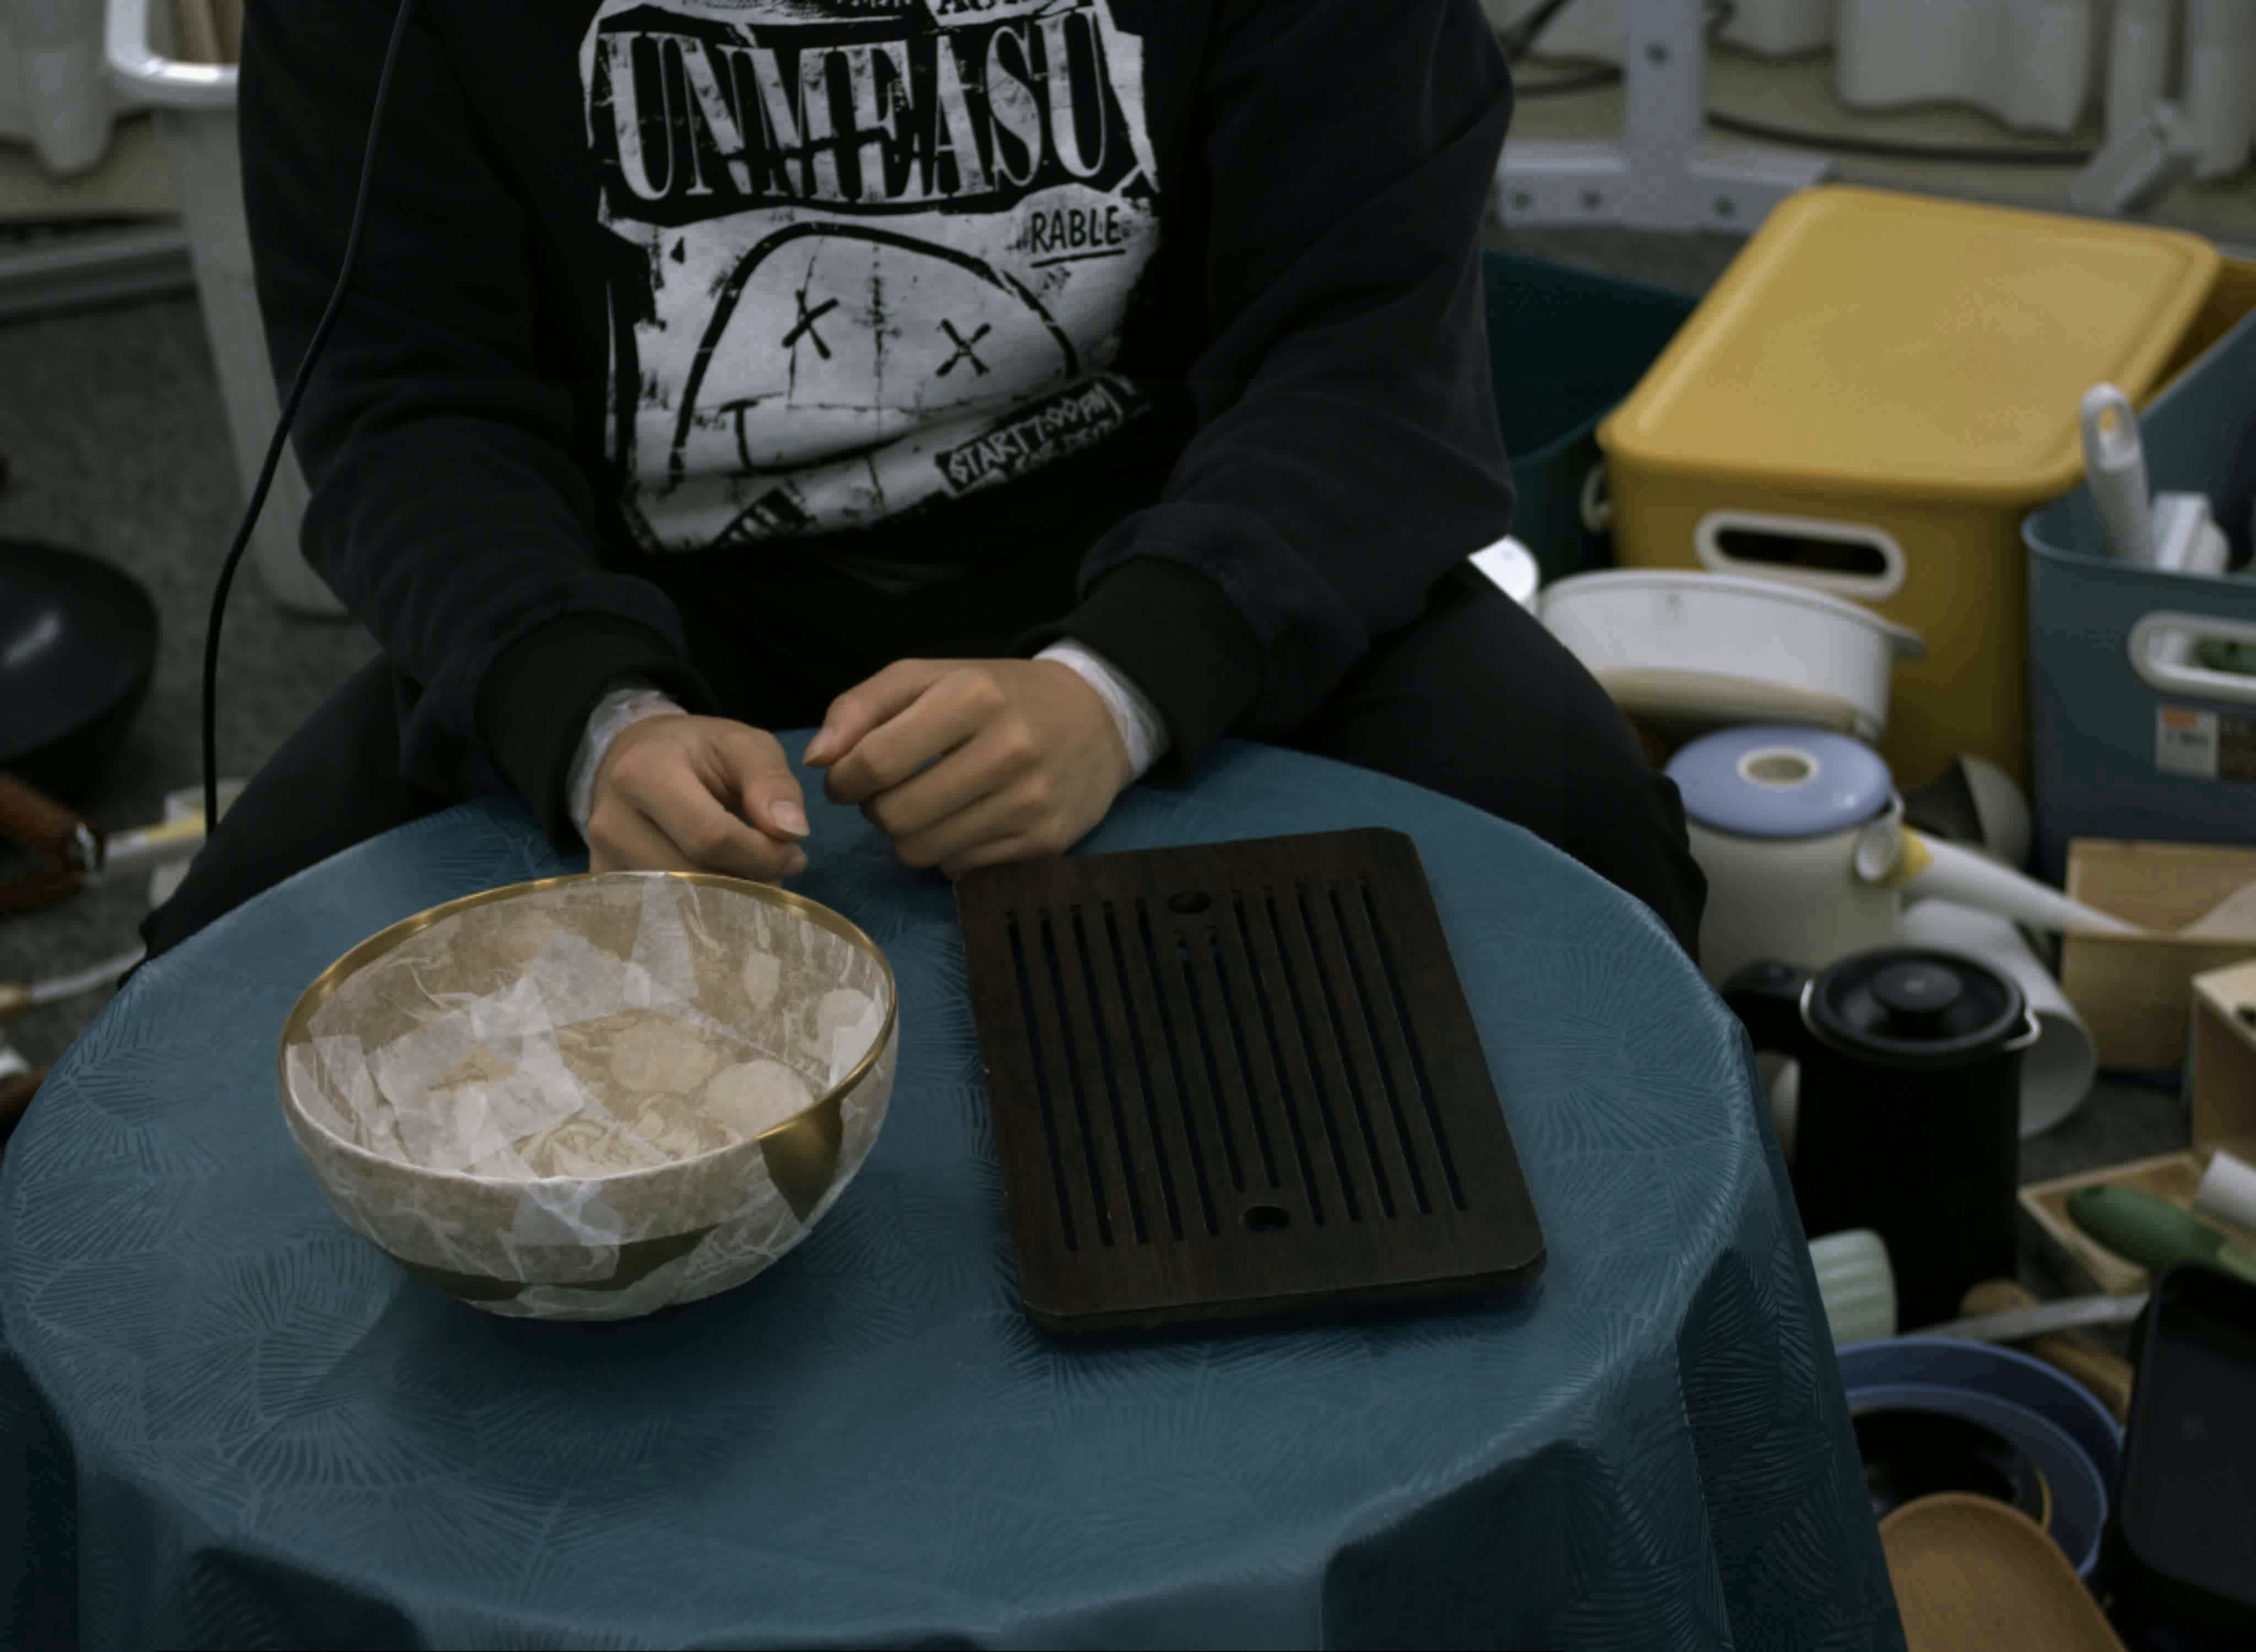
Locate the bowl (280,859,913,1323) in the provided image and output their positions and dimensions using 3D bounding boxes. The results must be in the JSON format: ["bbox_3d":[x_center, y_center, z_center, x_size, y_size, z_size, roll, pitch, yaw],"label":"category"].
[{"bbox_3d":[-0.167,0.099,1.823,0.213,0.093,0.218,-3,27,2],"label":"bowl"}]

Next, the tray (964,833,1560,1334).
[{"bbox_3d":[0.039,0.085,1.910,0.169,0.018,0.310,-5,27,-4],"label":"tray"}]
